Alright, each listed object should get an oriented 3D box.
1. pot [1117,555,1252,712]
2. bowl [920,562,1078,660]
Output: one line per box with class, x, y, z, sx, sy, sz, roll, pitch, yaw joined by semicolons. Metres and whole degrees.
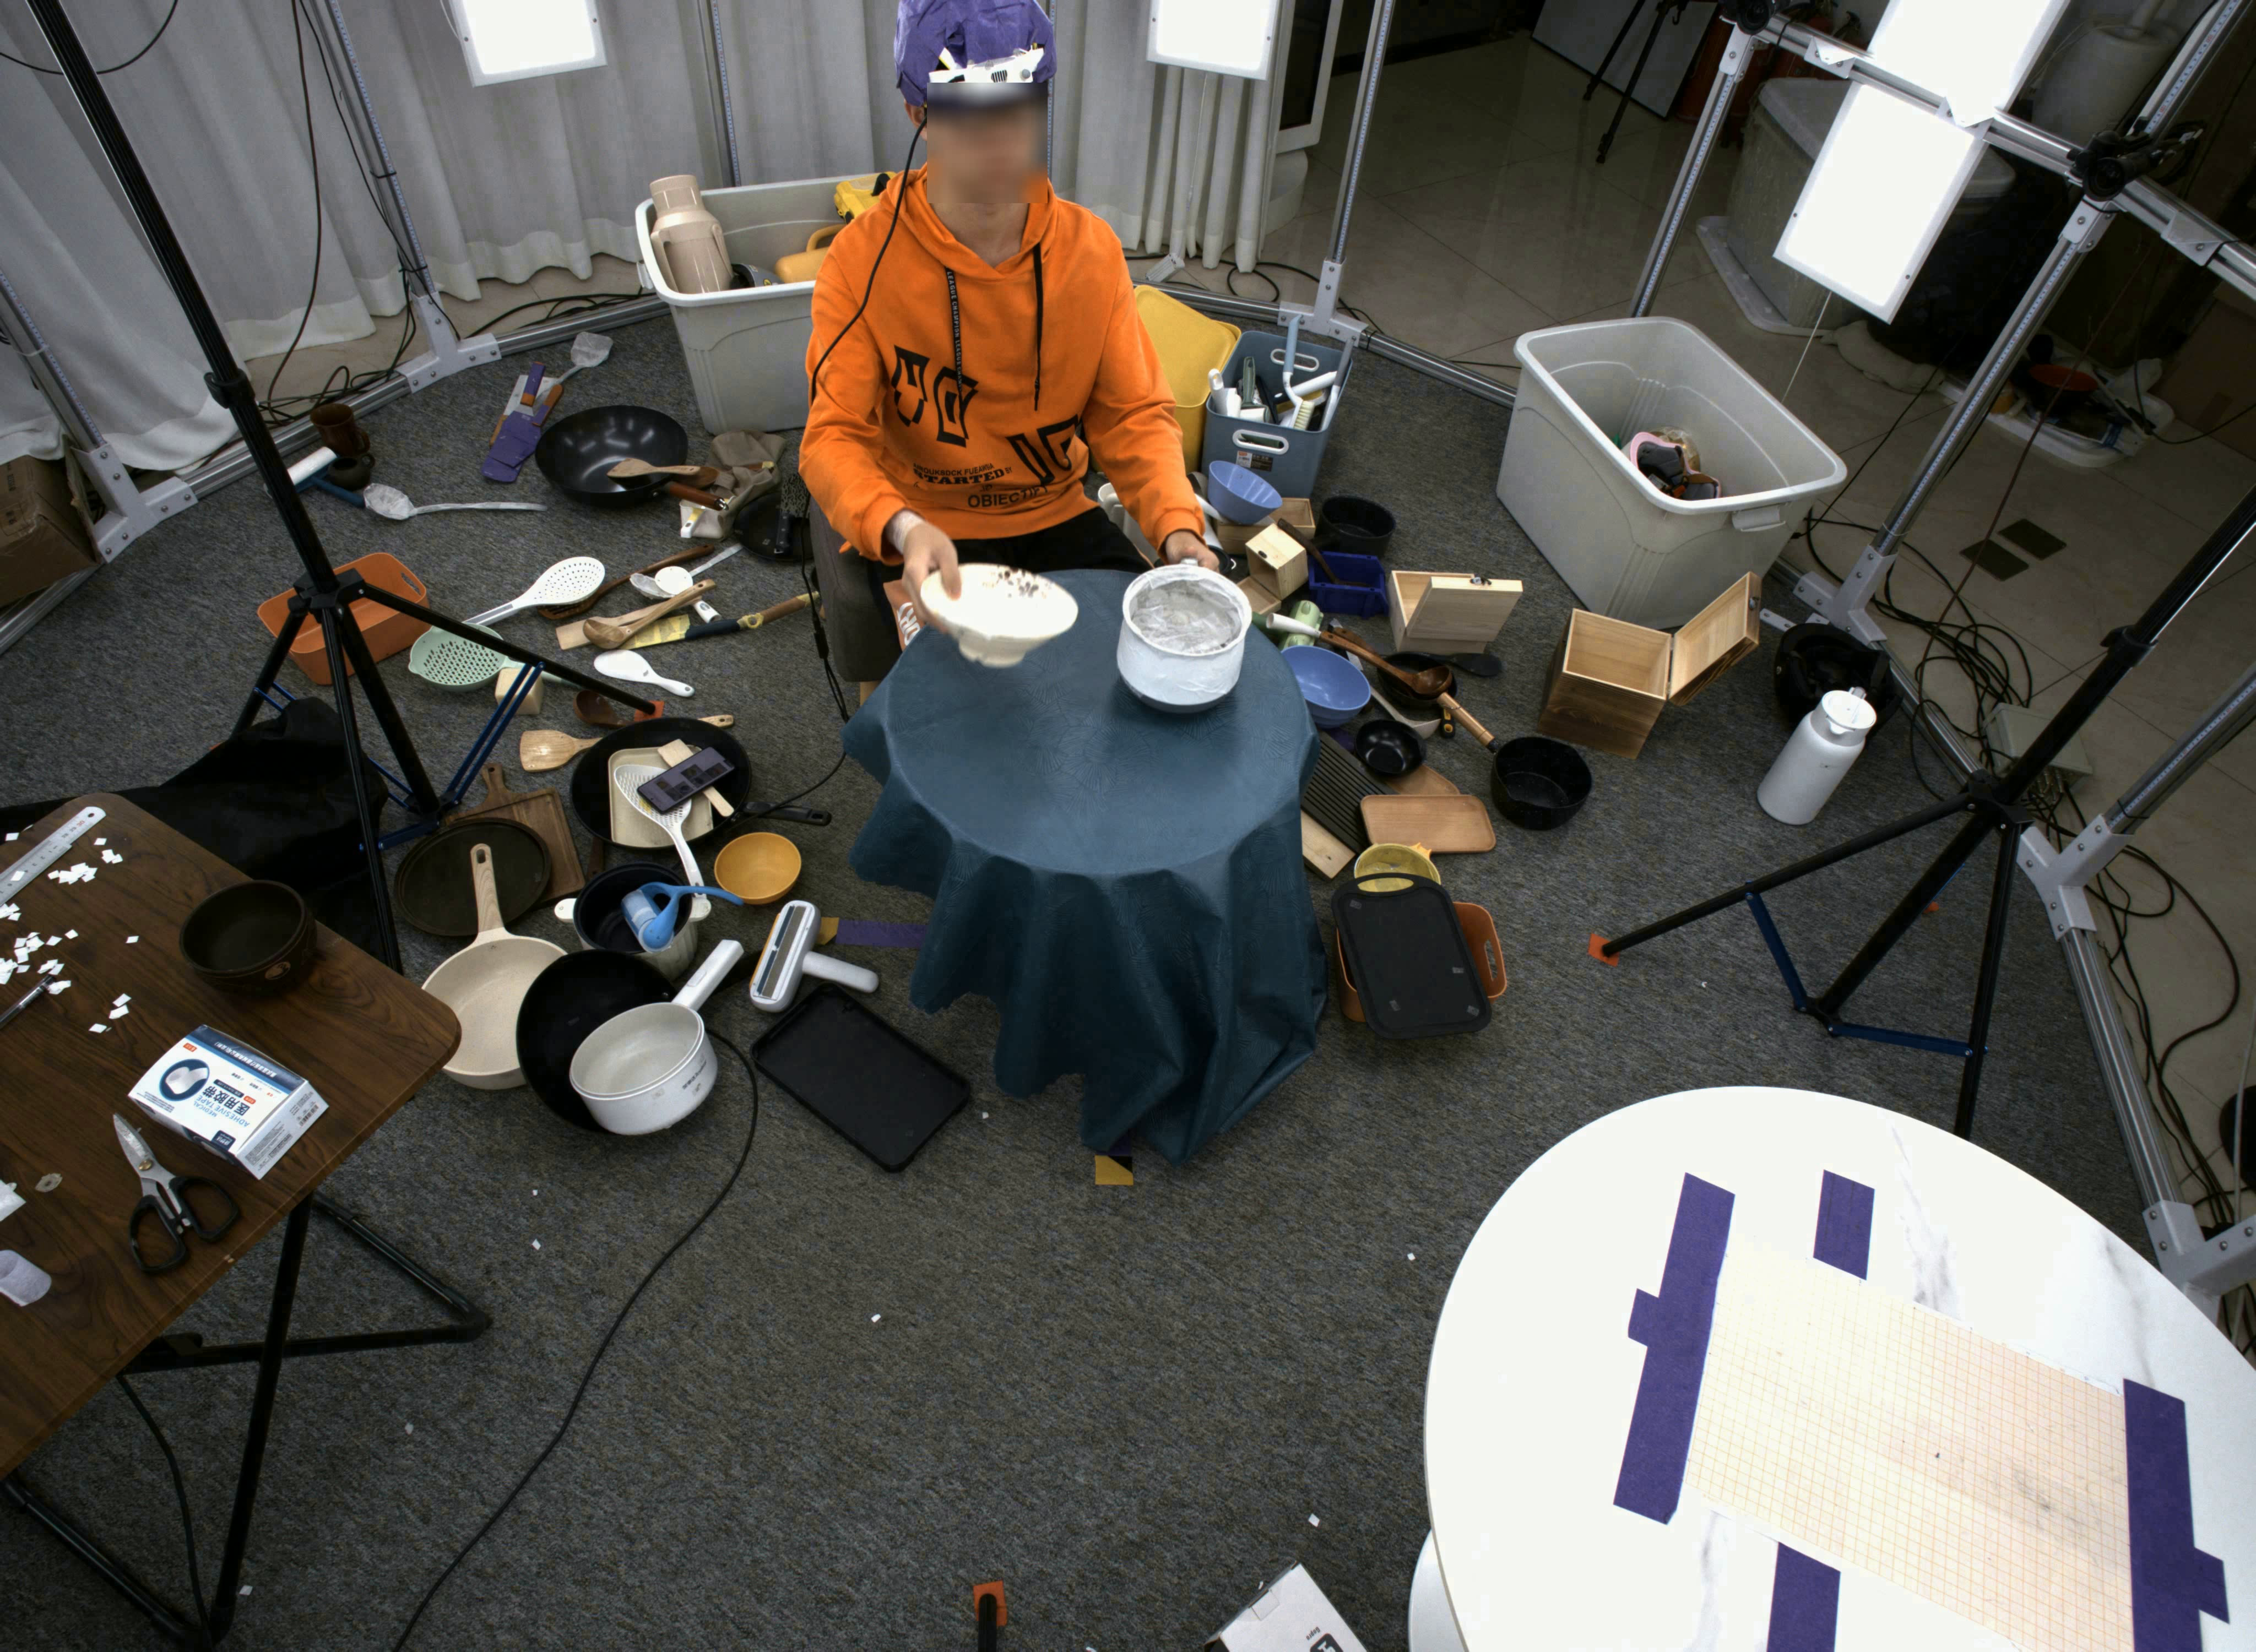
pot;0.076;-0.279;1.801;0.178;0.133;0.239;5;51;-2
bowl;-0.170;-0.268;1.666;0.203;0.076;0.208;9;29;-5
